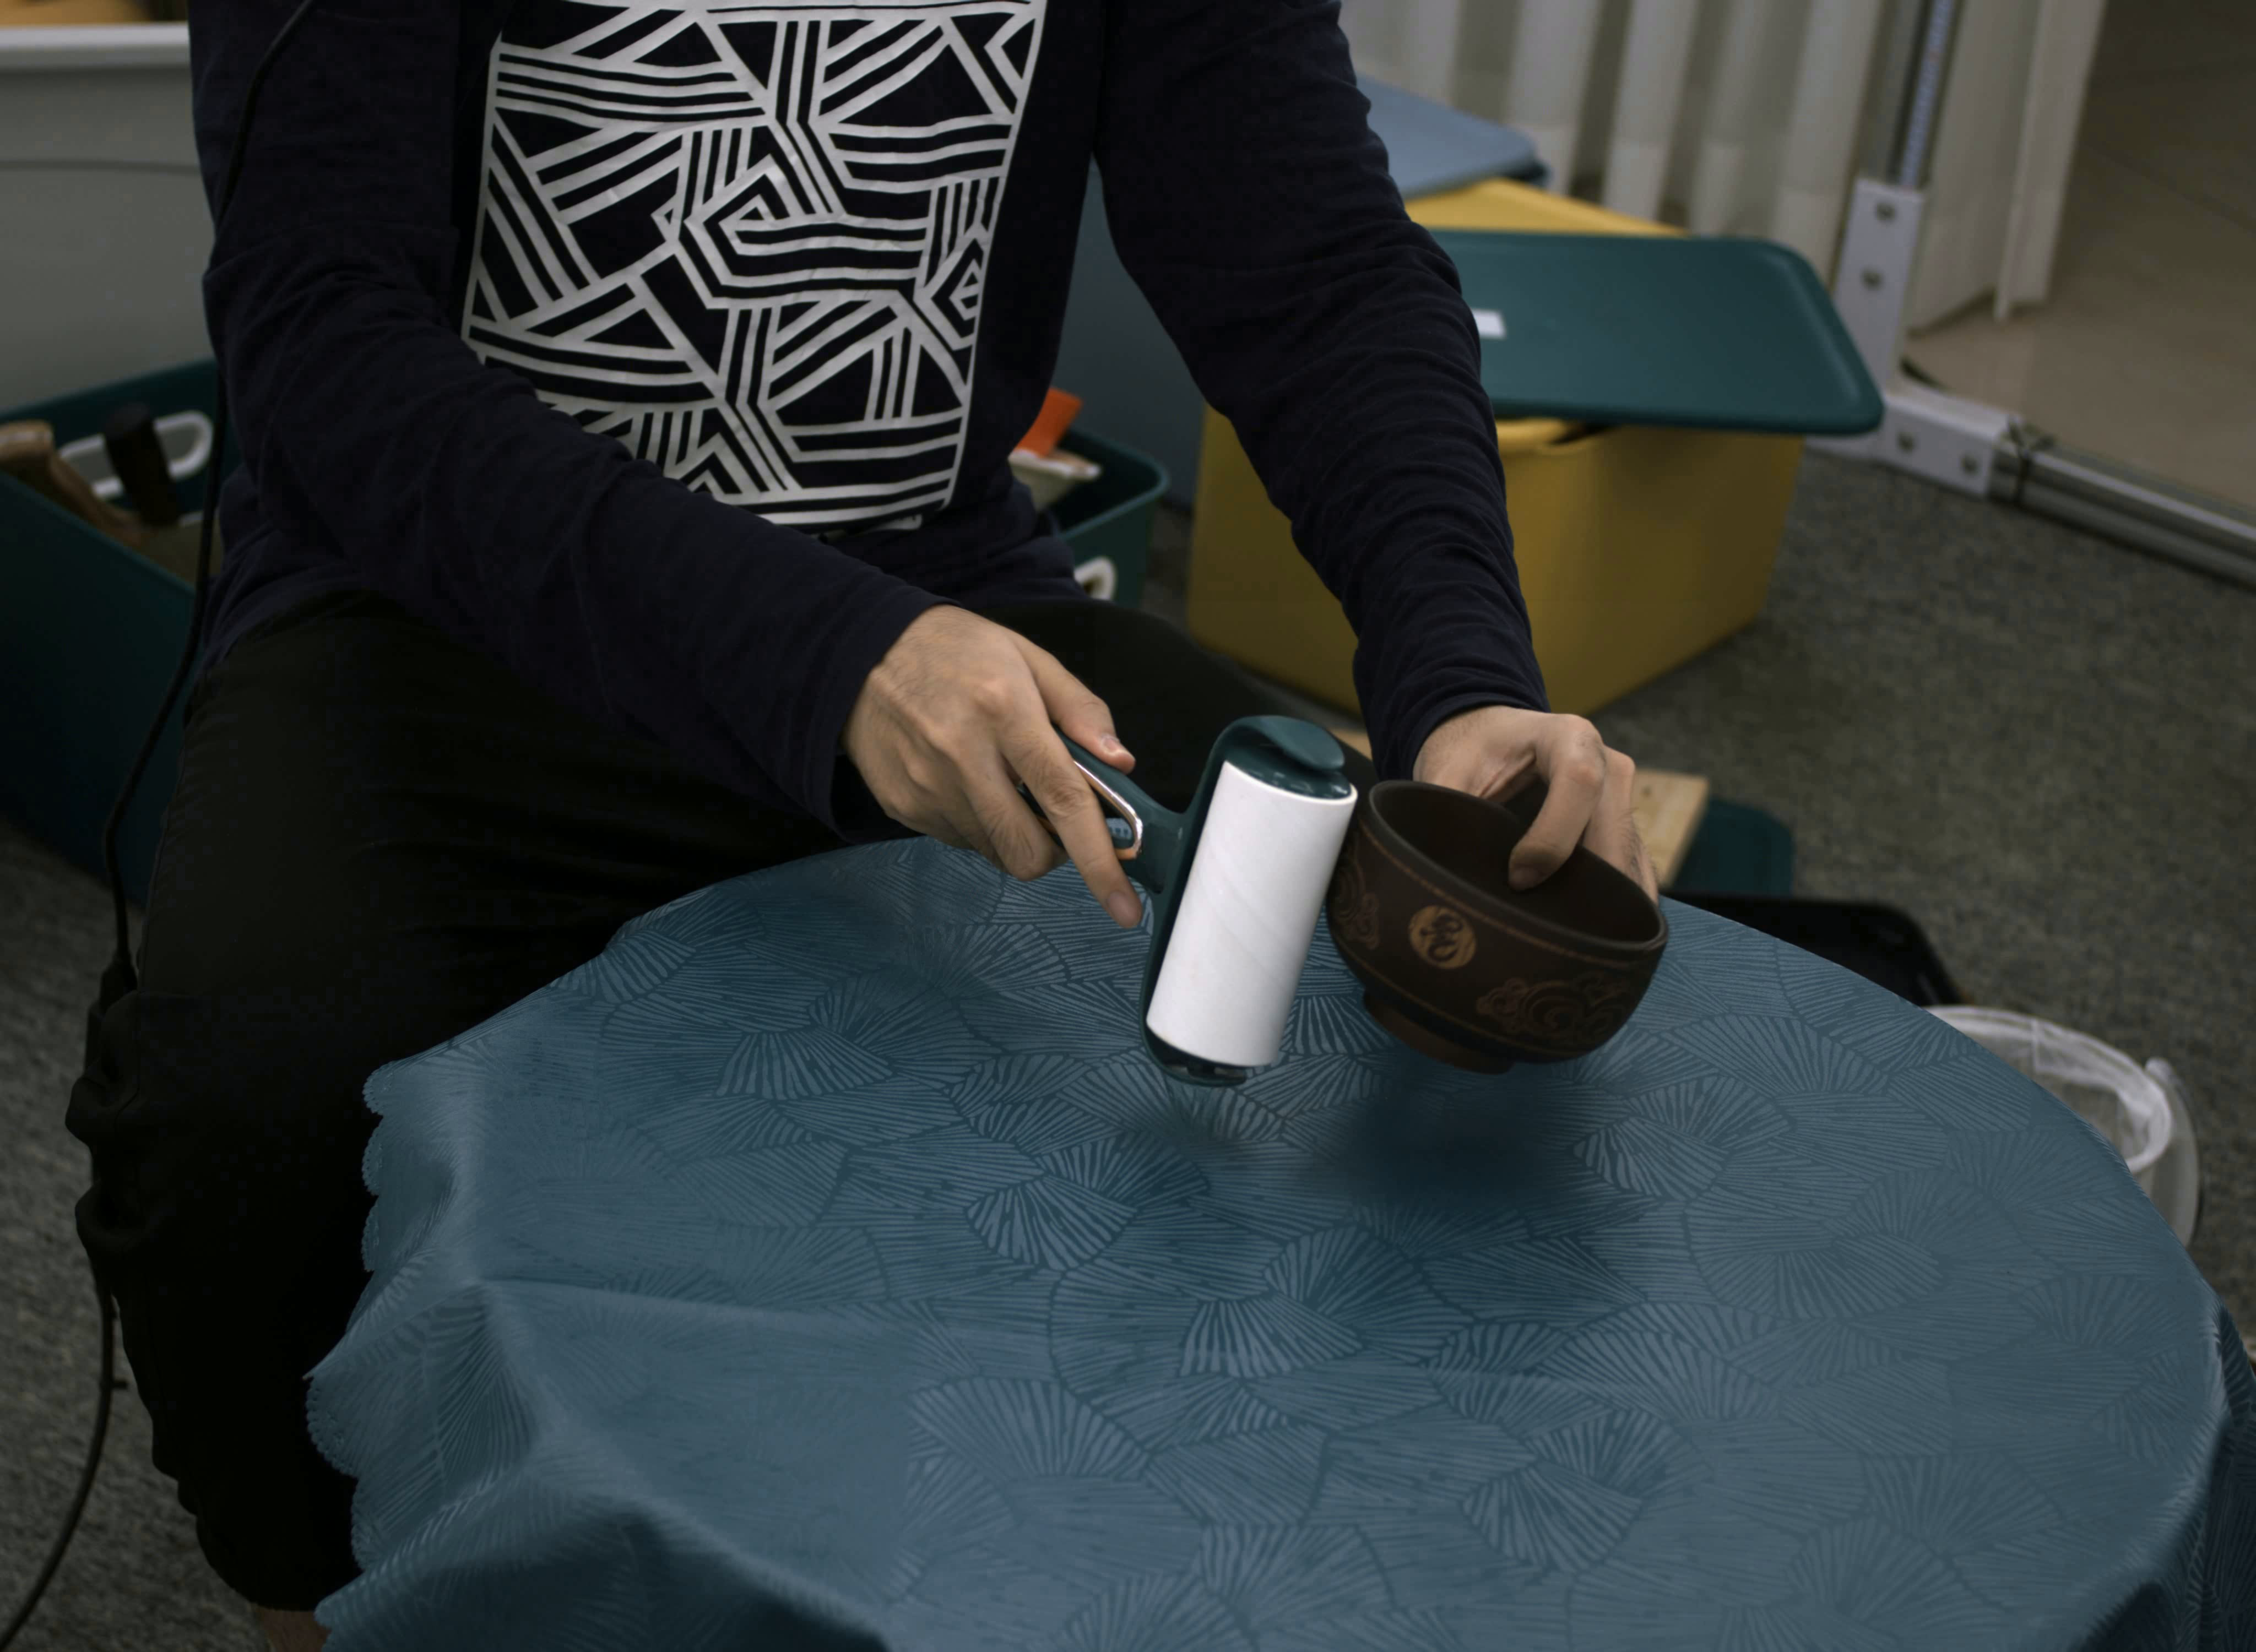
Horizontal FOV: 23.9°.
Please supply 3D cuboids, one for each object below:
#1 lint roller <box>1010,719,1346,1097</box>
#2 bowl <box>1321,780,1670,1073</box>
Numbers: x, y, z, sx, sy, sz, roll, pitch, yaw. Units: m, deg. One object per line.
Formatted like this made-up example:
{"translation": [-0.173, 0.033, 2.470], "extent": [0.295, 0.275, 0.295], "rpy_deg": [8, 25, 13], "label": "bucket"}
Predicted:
{"translation": [-0.002, 0.004, 1.857], "extent": [0.048, 0.134, 0.181], "rpy_deg": [8, 16, -41], "label": "lint roller"}
{"translation": [0.120, 0.041, 1.825], "extent": [0.117, 0.070, 0.118], "rpy_deg": [20, 18, -7], "label": "bowl"}
